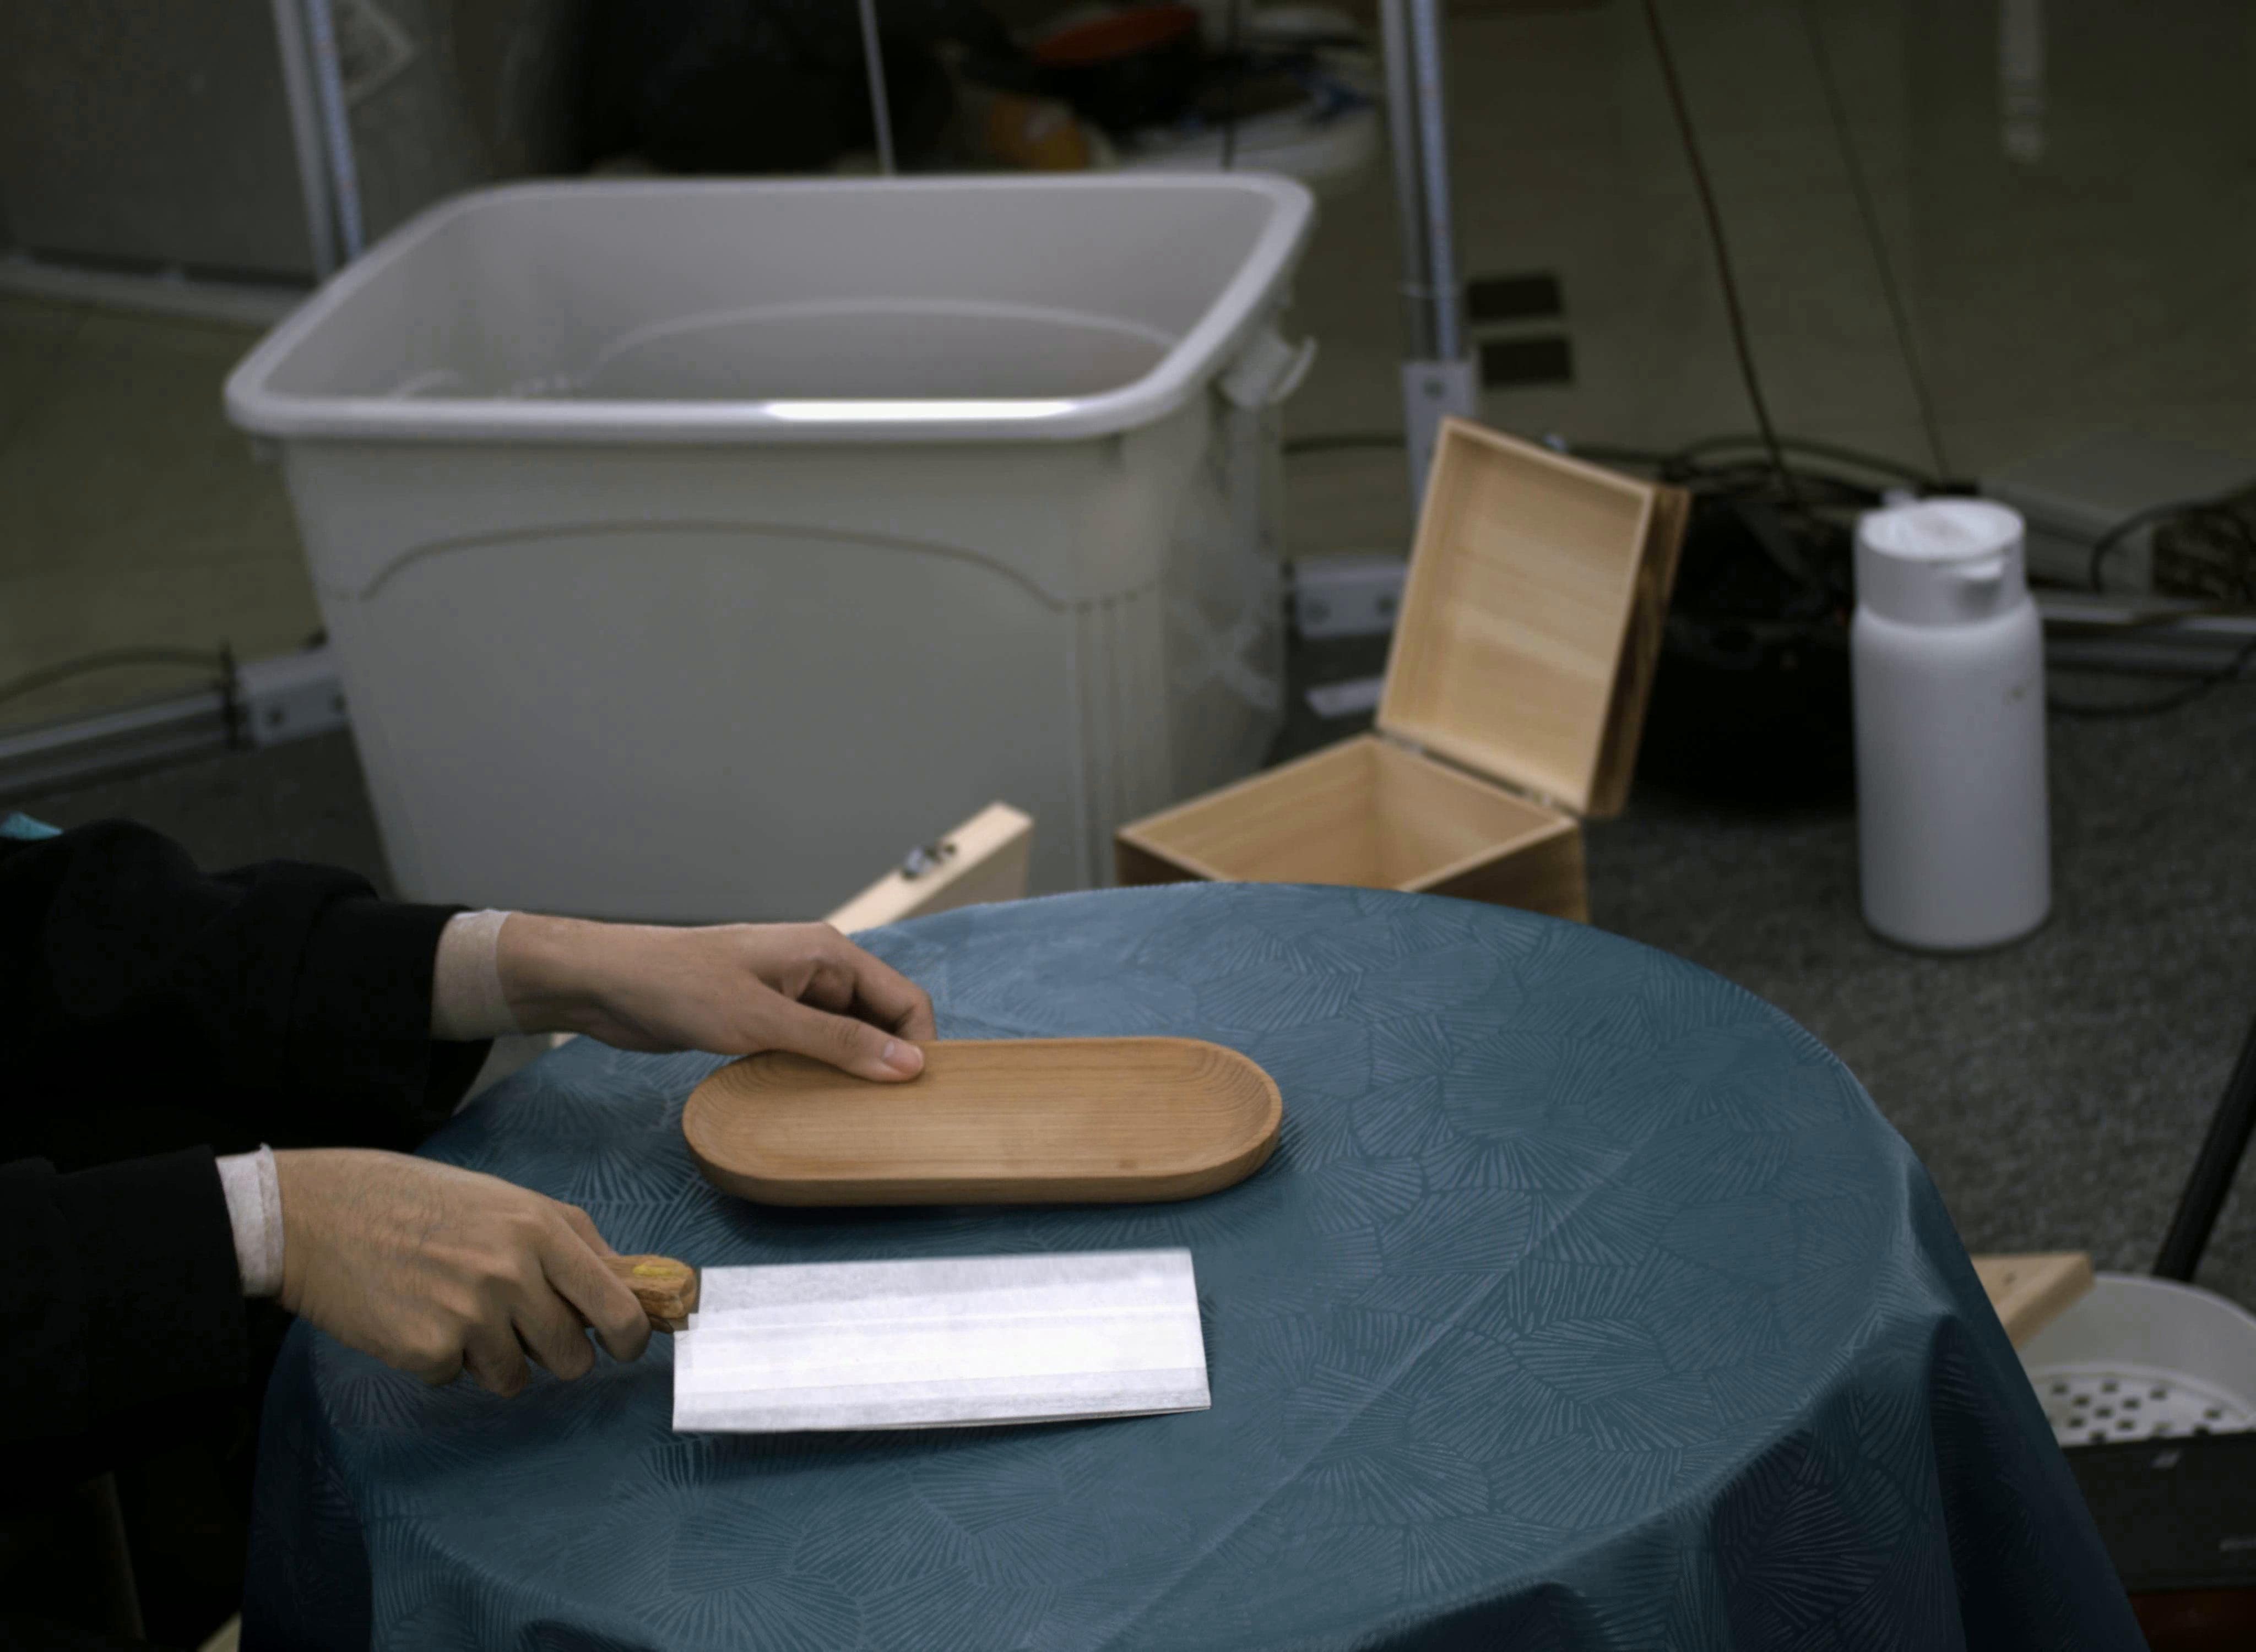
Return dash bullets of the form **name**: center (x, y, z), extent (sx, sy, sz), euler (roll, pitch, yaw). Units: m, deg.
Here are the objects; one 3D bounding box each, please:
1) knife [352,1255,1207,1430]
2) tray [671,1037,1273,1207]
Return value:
- **knife**: center (-0.125, 0.184, 2.026), extent (0.305, 0.021, 0.091), euler (-1, 33, -4)
- **tray**: center (-0.060, 0.114, 2.173), extent (0.231, 0.020, 0.100), euler (-2, 29, 3)
